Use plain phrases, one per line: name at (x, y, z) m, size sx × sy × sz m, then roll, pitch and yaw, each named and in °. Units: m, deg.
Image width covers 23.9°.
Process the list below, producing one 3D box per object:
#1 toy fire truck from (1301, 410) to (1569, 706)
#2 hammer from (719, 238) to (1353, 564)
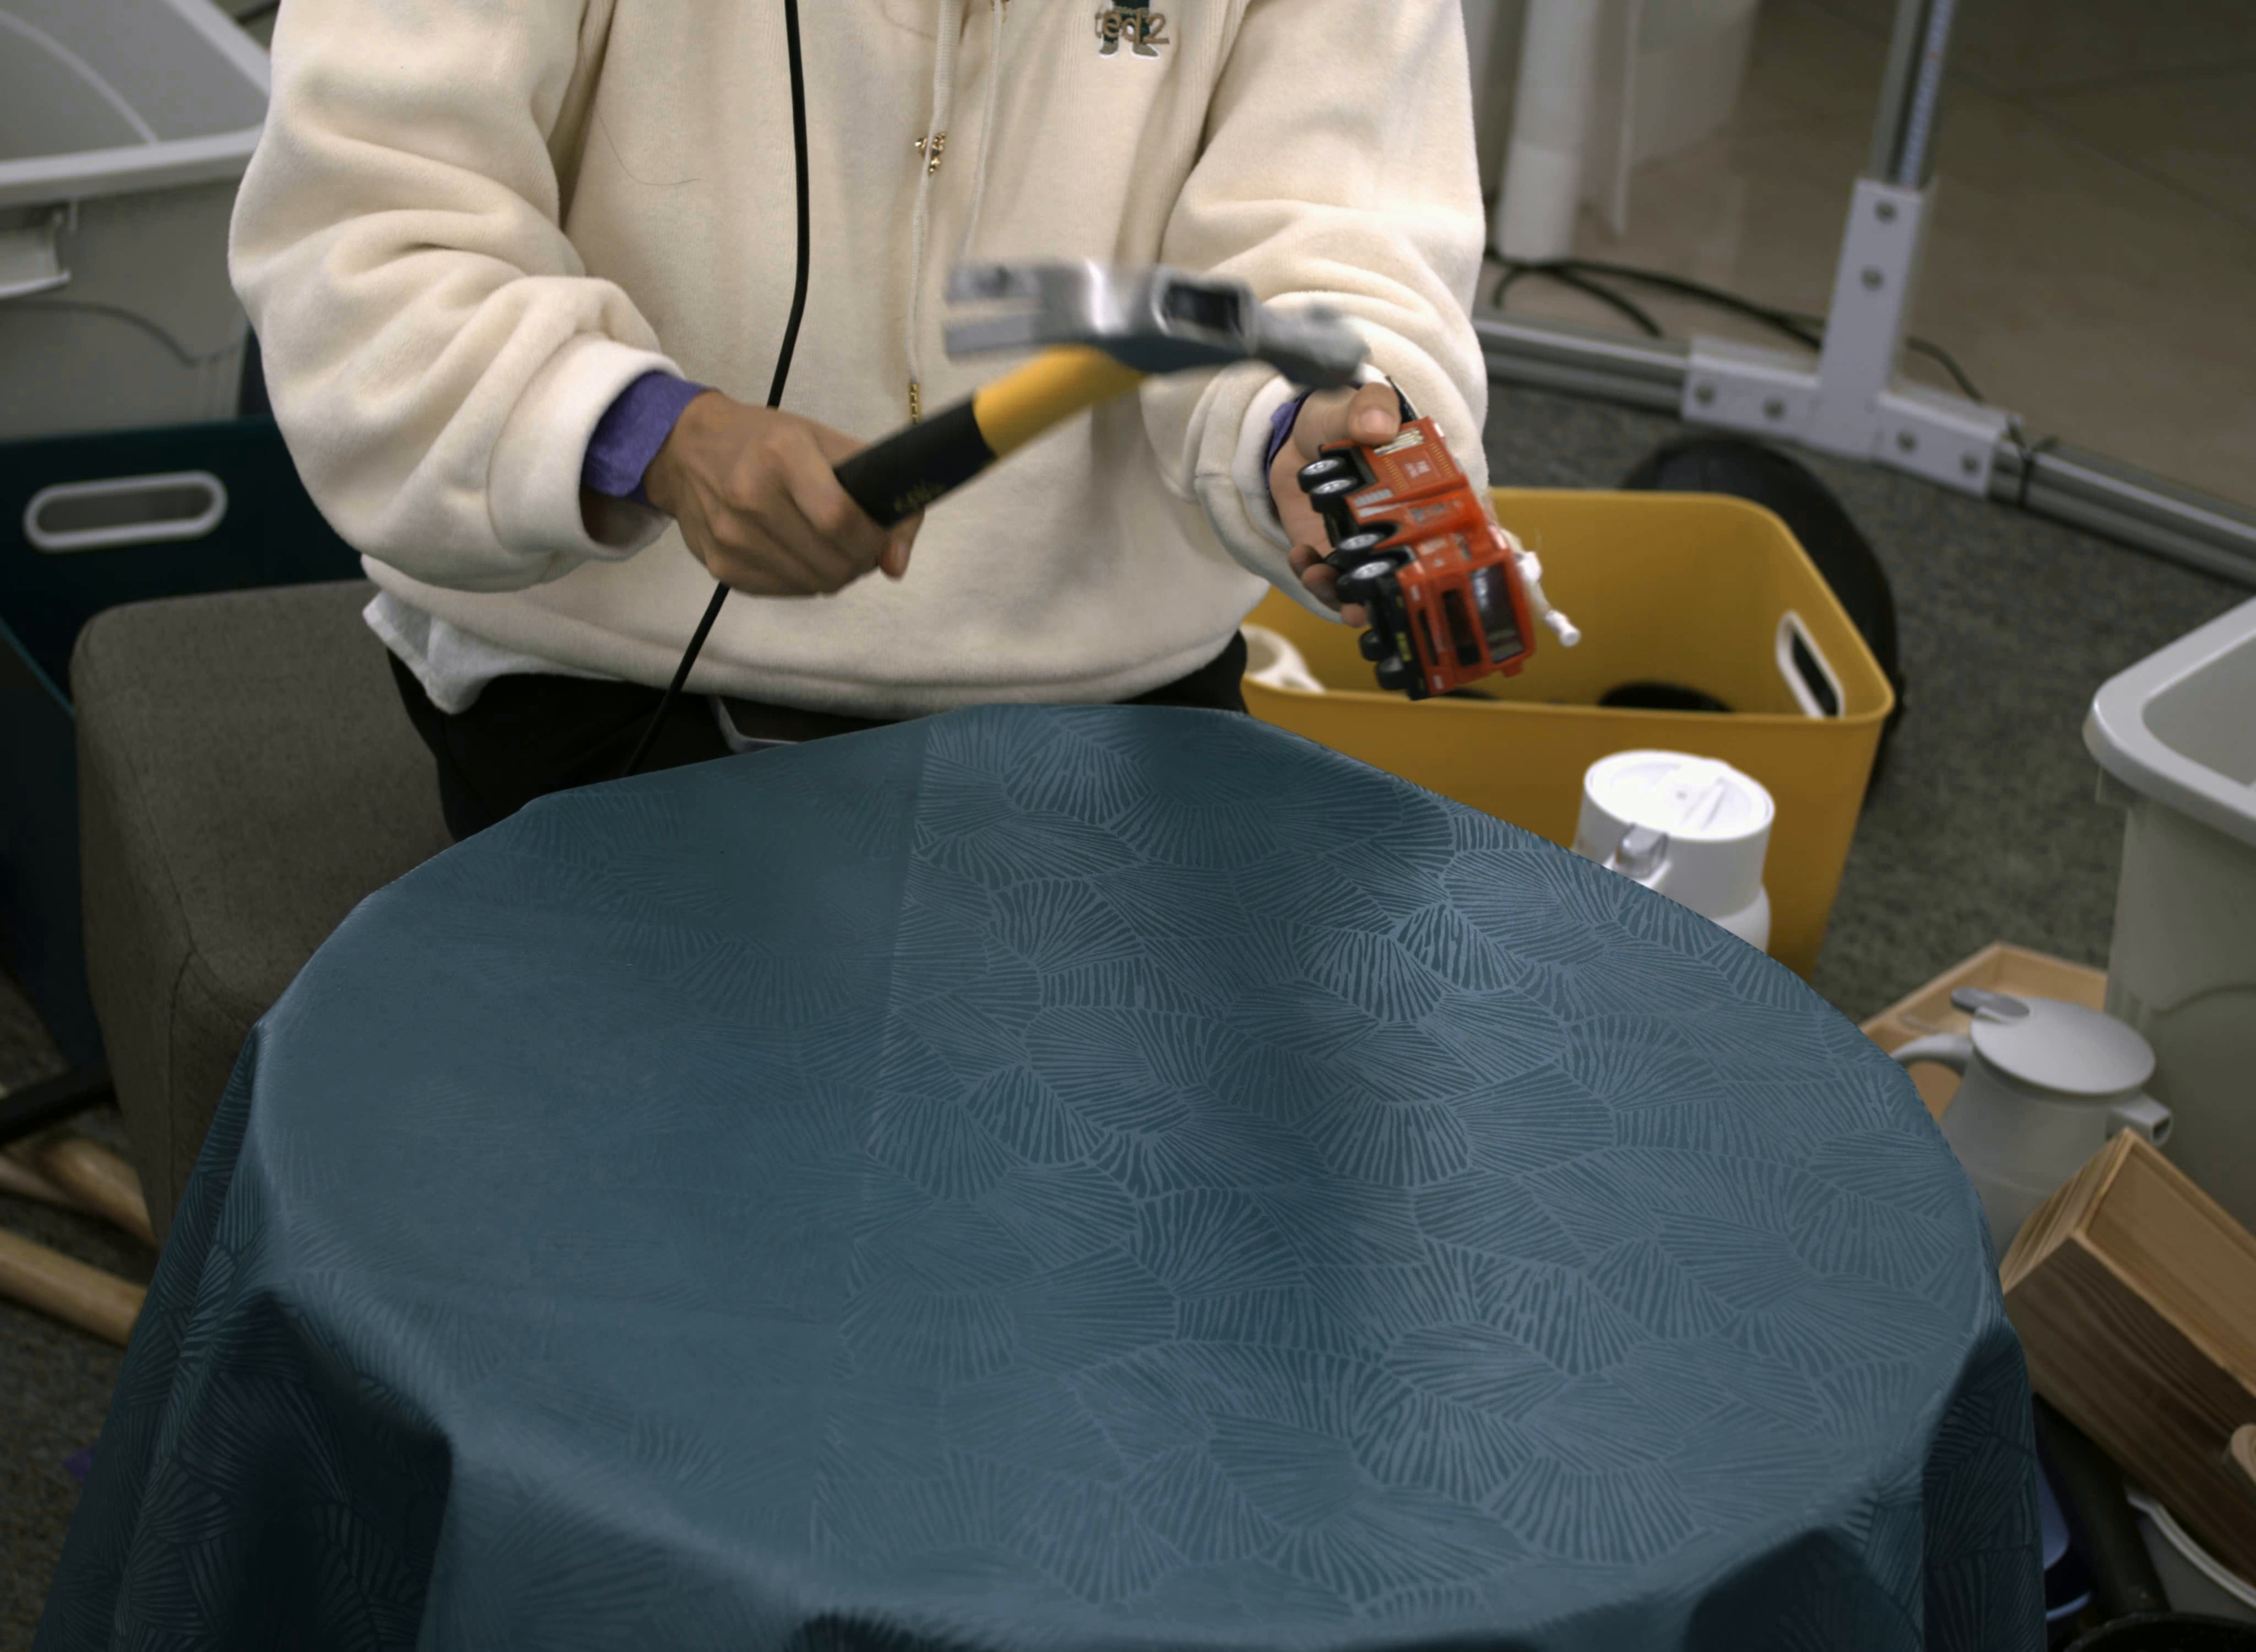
toy fire truck at (0.101, -0.093, 1.822) m, size 0.070 × 0.054 × 0.169 m, roll -17°, pitch 22°, yaw -1°
hammer at (-0.061, -0.146, 1.885) m, size 0.130 × 0.032 × 0.339 m, roll 8°, pitch -15°, yaw -27°
